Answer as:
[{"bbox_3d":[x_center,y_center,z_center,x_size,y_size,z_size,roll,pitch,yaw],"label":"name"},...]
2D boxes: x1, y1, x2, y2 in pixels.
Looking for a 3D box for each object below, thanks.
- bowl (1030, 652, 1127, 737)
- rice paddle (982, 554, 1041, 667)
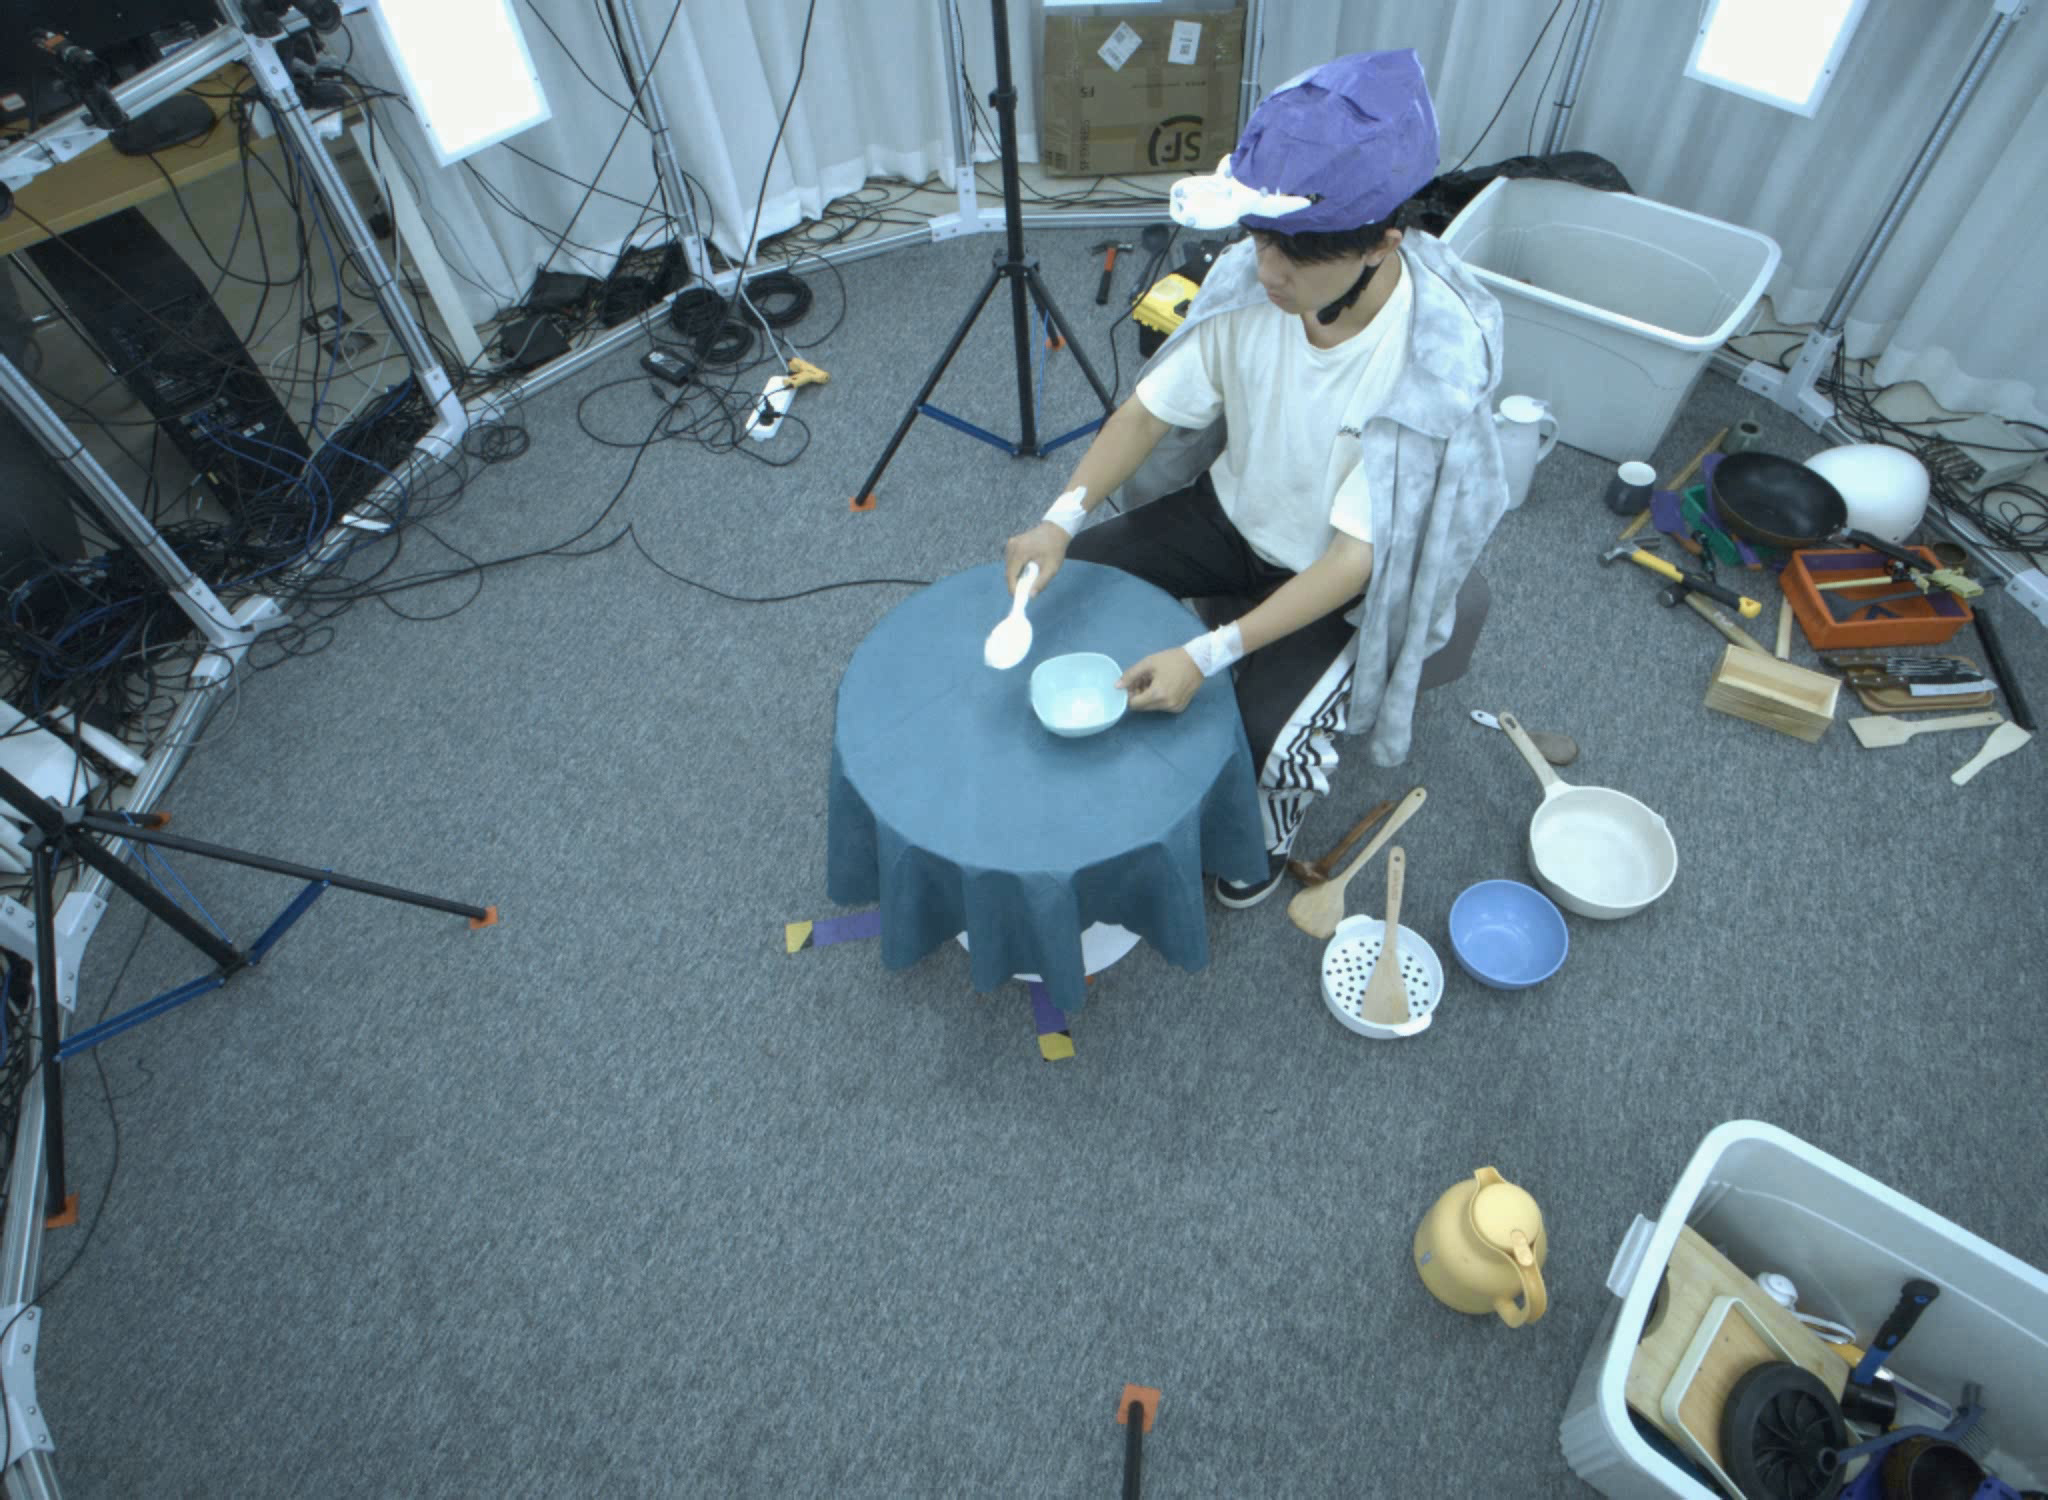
[{"bbox_3d":[0.081,-0.071,1.802,0.151,0.059,0.150,-2,55,4],"label":"bowl"},{"bbox_3d":[-0.014,-0.205,1.811,0.068,0.030,0.204,1,56,23],"label":"rice paddle"}]
